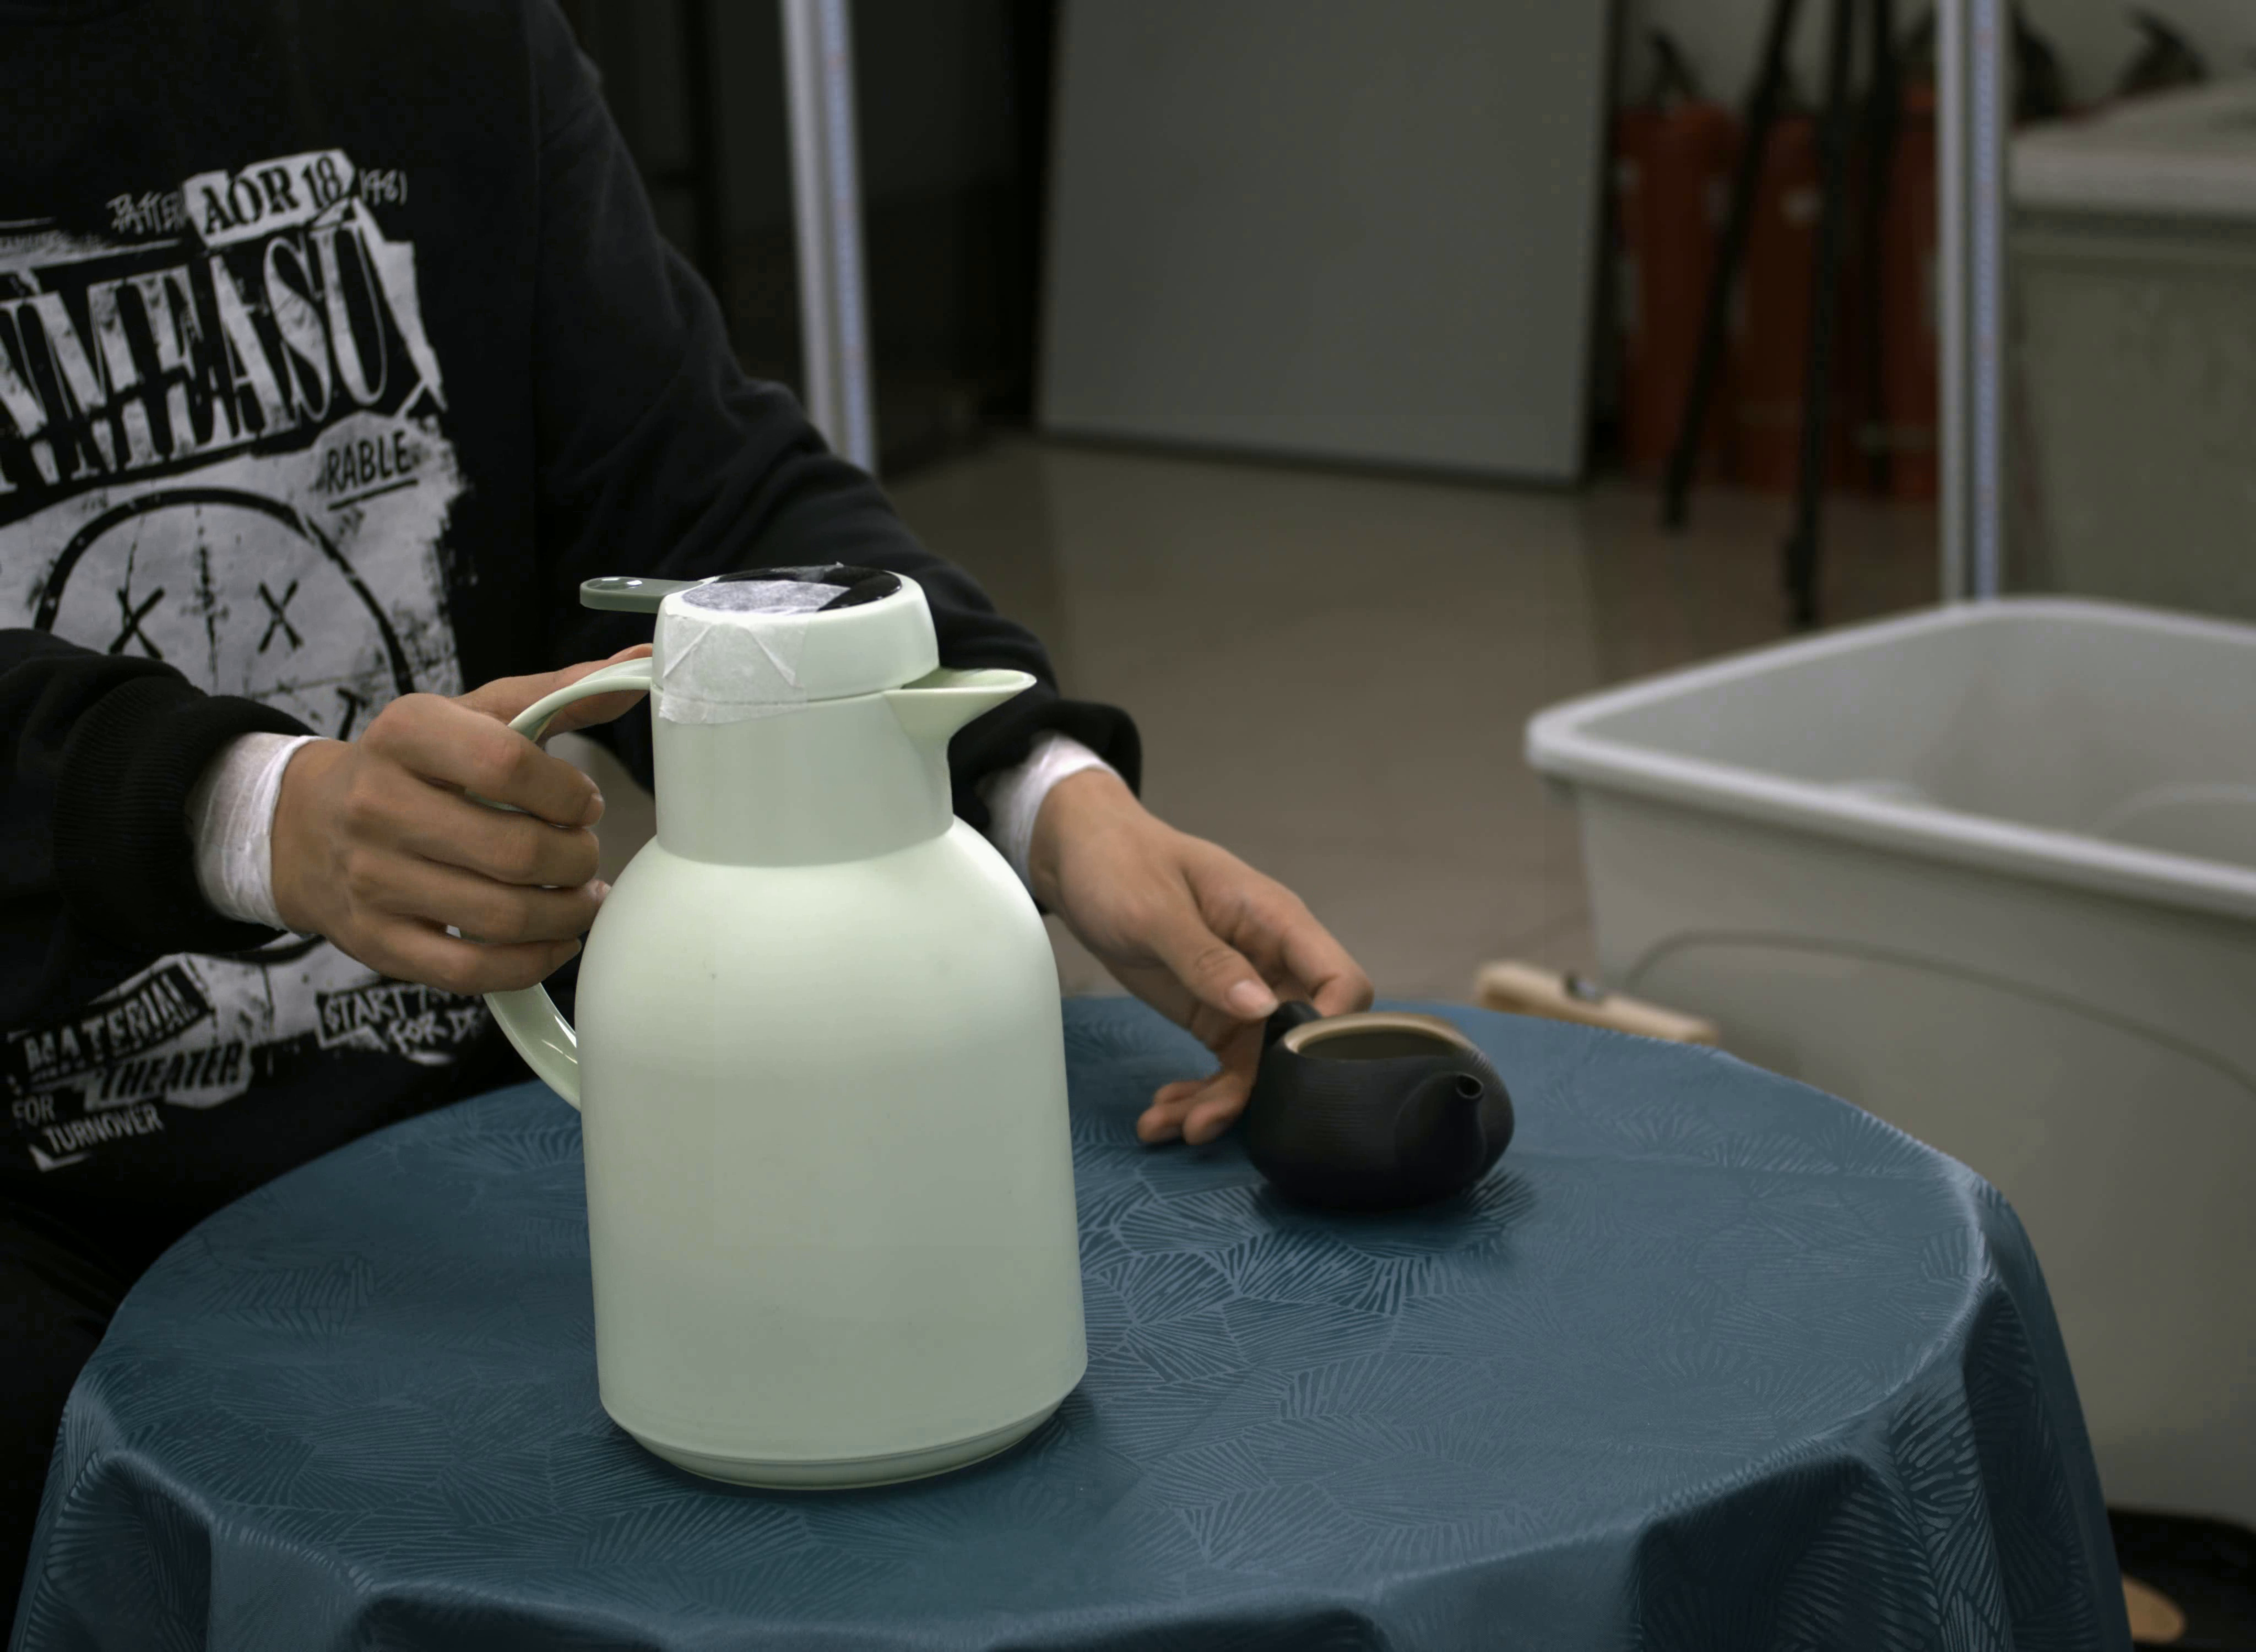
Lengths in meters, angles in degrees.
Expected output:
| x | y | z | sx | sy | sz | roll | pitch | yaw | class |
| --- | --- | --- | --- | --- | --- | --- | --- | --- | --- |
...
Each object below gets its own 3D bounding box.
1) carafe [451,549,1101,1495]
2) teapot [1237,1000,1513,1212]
| x | y | z | sx | sy | sz | roll | pitch | yaw | class |
| --- | --- | --- | --- | --- | --- | --- | --- | --- | --- |
| -0.102 | 0.052 | 1.563 | 0.187 | 0.259 | 0.143 | -2 | 15 | 24 | carafe |
| 0.080 | 0.093 | 1.753 | 0.089 | 0.053 | 0.134 | -9 | 15 | -25 | teapot |
